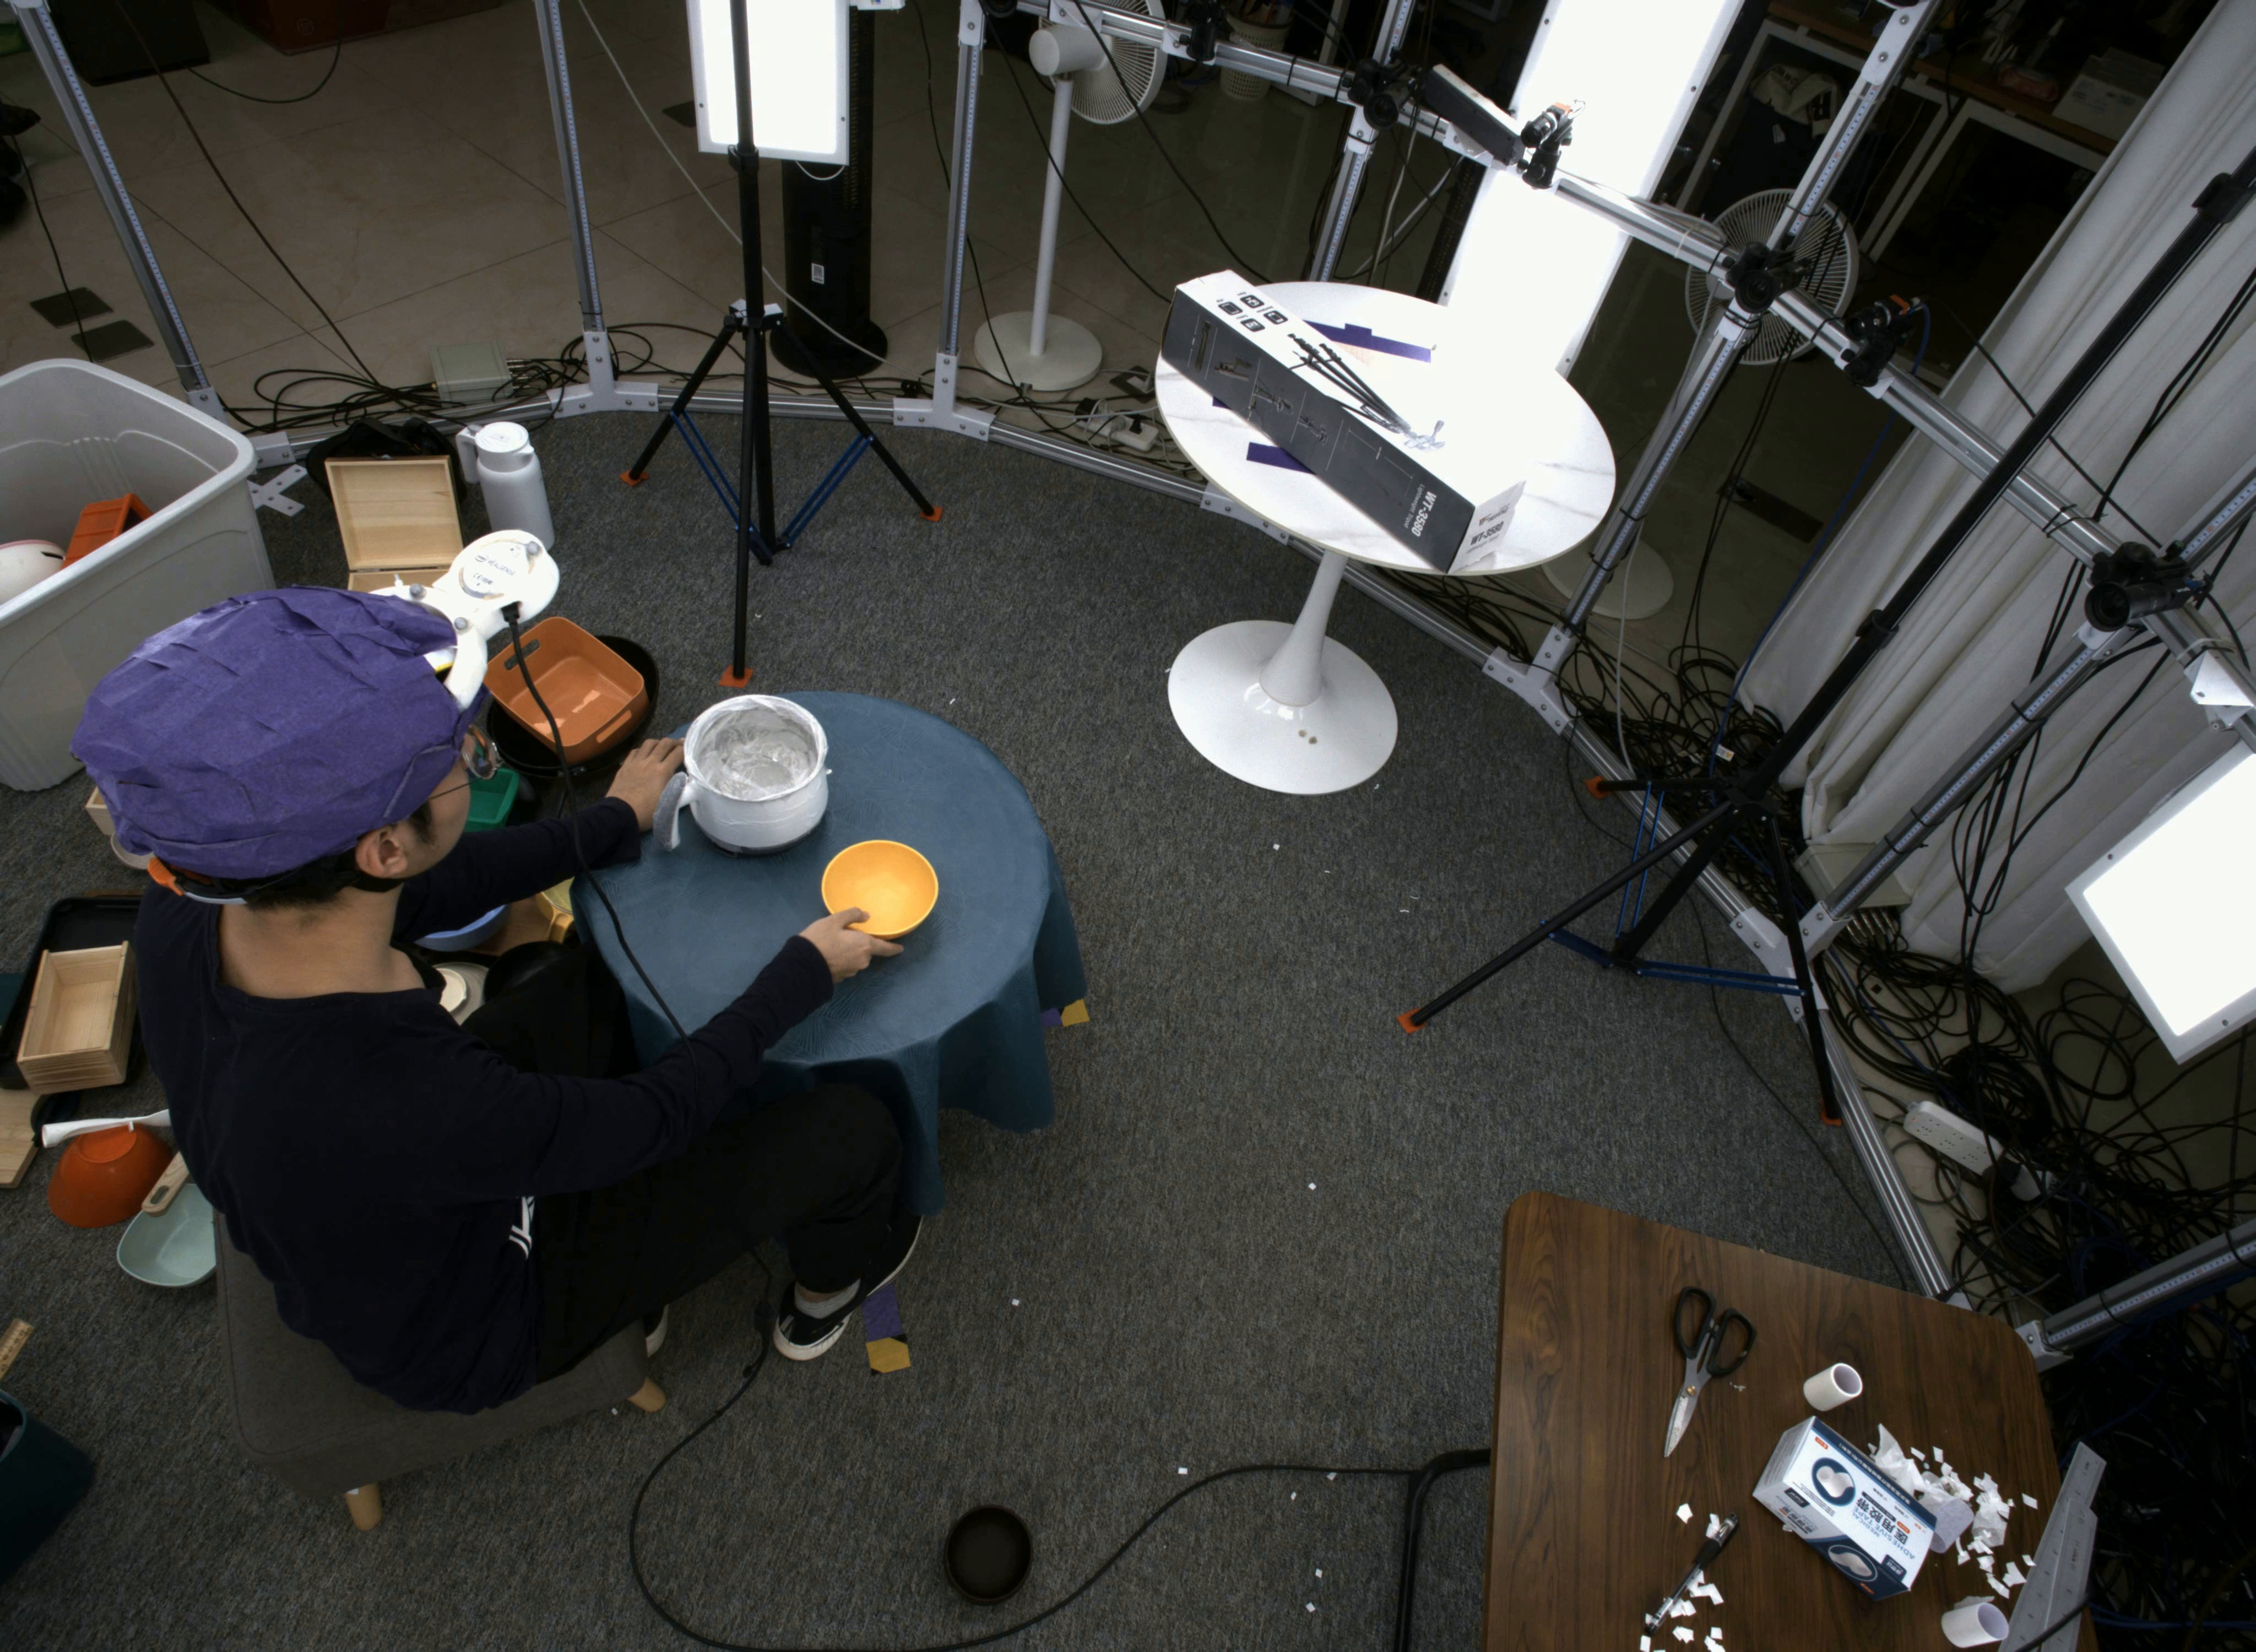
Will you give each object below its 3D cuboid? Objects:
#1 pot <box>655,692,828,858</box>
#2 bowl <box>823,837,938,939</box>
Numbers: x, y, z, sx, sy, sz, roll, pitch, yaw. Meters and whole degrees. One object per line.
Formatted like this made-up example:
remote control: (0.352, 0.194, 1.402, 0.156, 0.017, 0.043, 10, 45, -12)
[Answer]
pot: (-0.501, -0.053, 1.665, 0.234, 0.140, 0.174, -29, 61, -31)
bowl: (-0.315, 0.089, 1.657, 0.145, 0.061, 0.143, 7, 54, -9)
